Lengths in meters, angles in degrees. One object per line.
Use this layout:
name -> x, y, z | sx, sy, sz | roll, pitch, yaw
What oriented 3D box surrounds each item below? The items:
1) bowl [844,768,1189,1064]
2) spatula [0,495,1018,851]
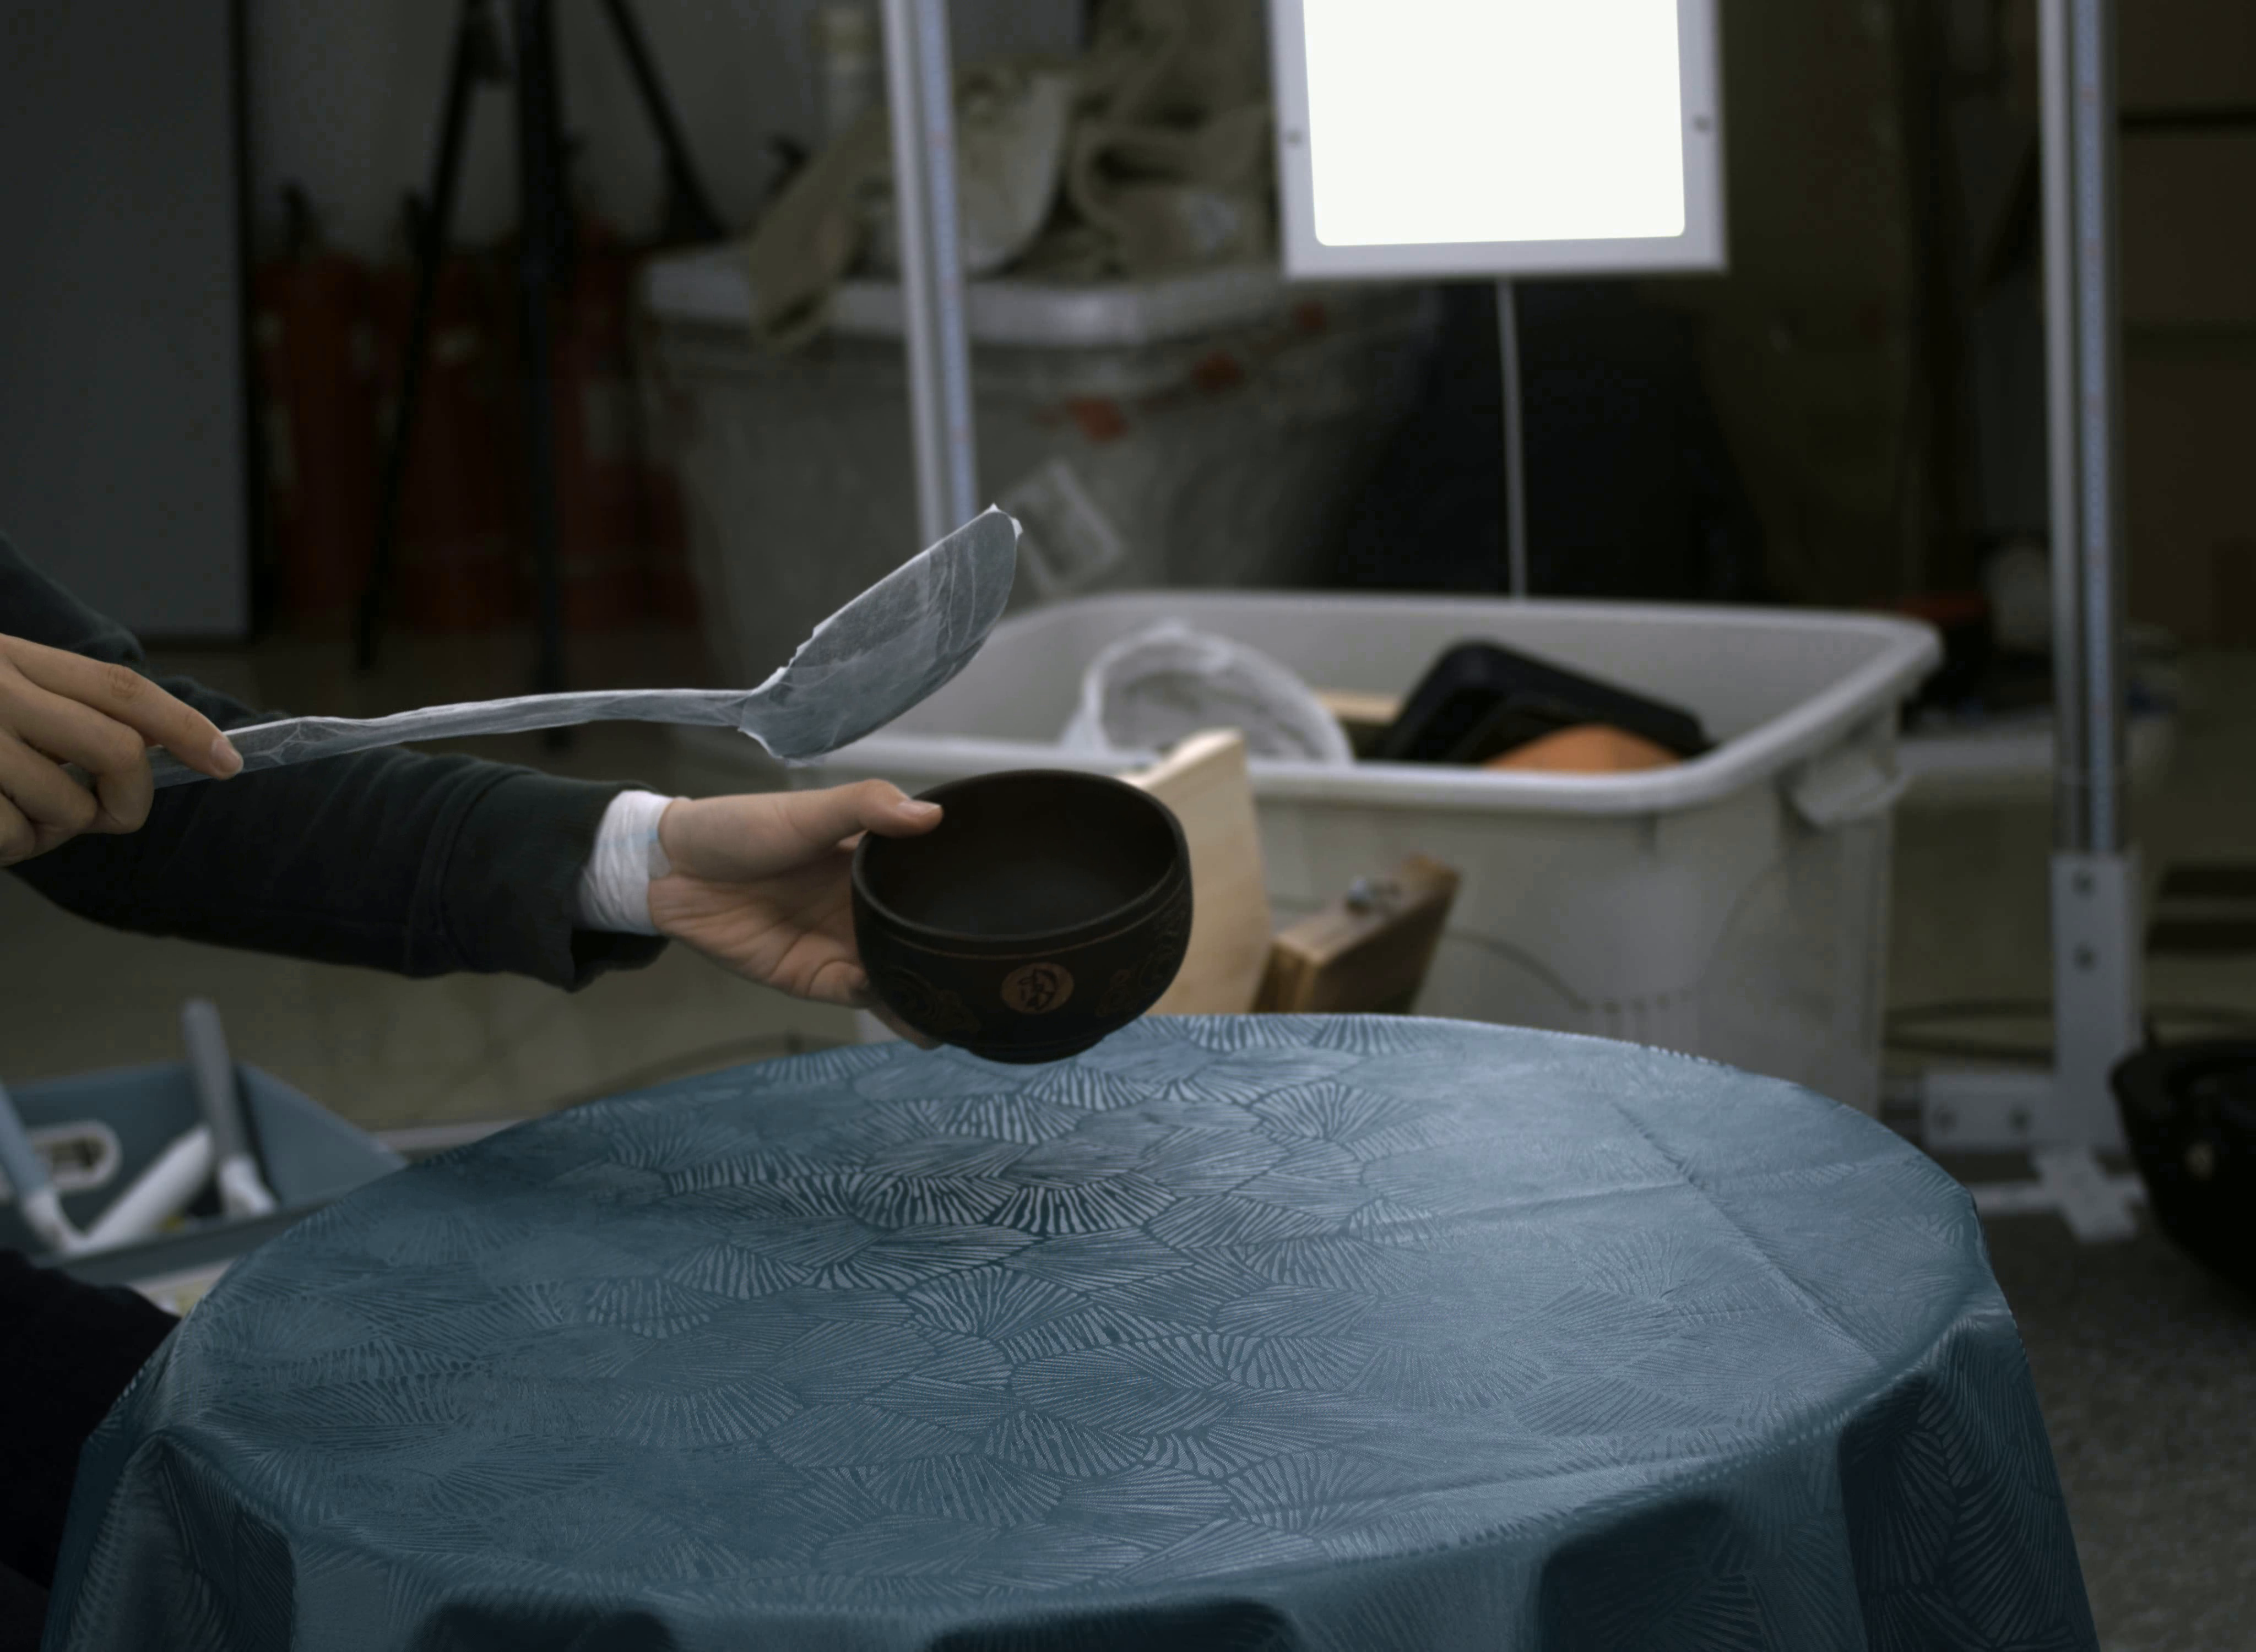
bowl -> -0.037, 0.037, 1.879 | 0.118, 0.070, 0.118 | -5, 29, 1
spatula -> -0.199, -0.038, 1.753 | 0.359, 0.100, 0.045 | -10, 59, -18
